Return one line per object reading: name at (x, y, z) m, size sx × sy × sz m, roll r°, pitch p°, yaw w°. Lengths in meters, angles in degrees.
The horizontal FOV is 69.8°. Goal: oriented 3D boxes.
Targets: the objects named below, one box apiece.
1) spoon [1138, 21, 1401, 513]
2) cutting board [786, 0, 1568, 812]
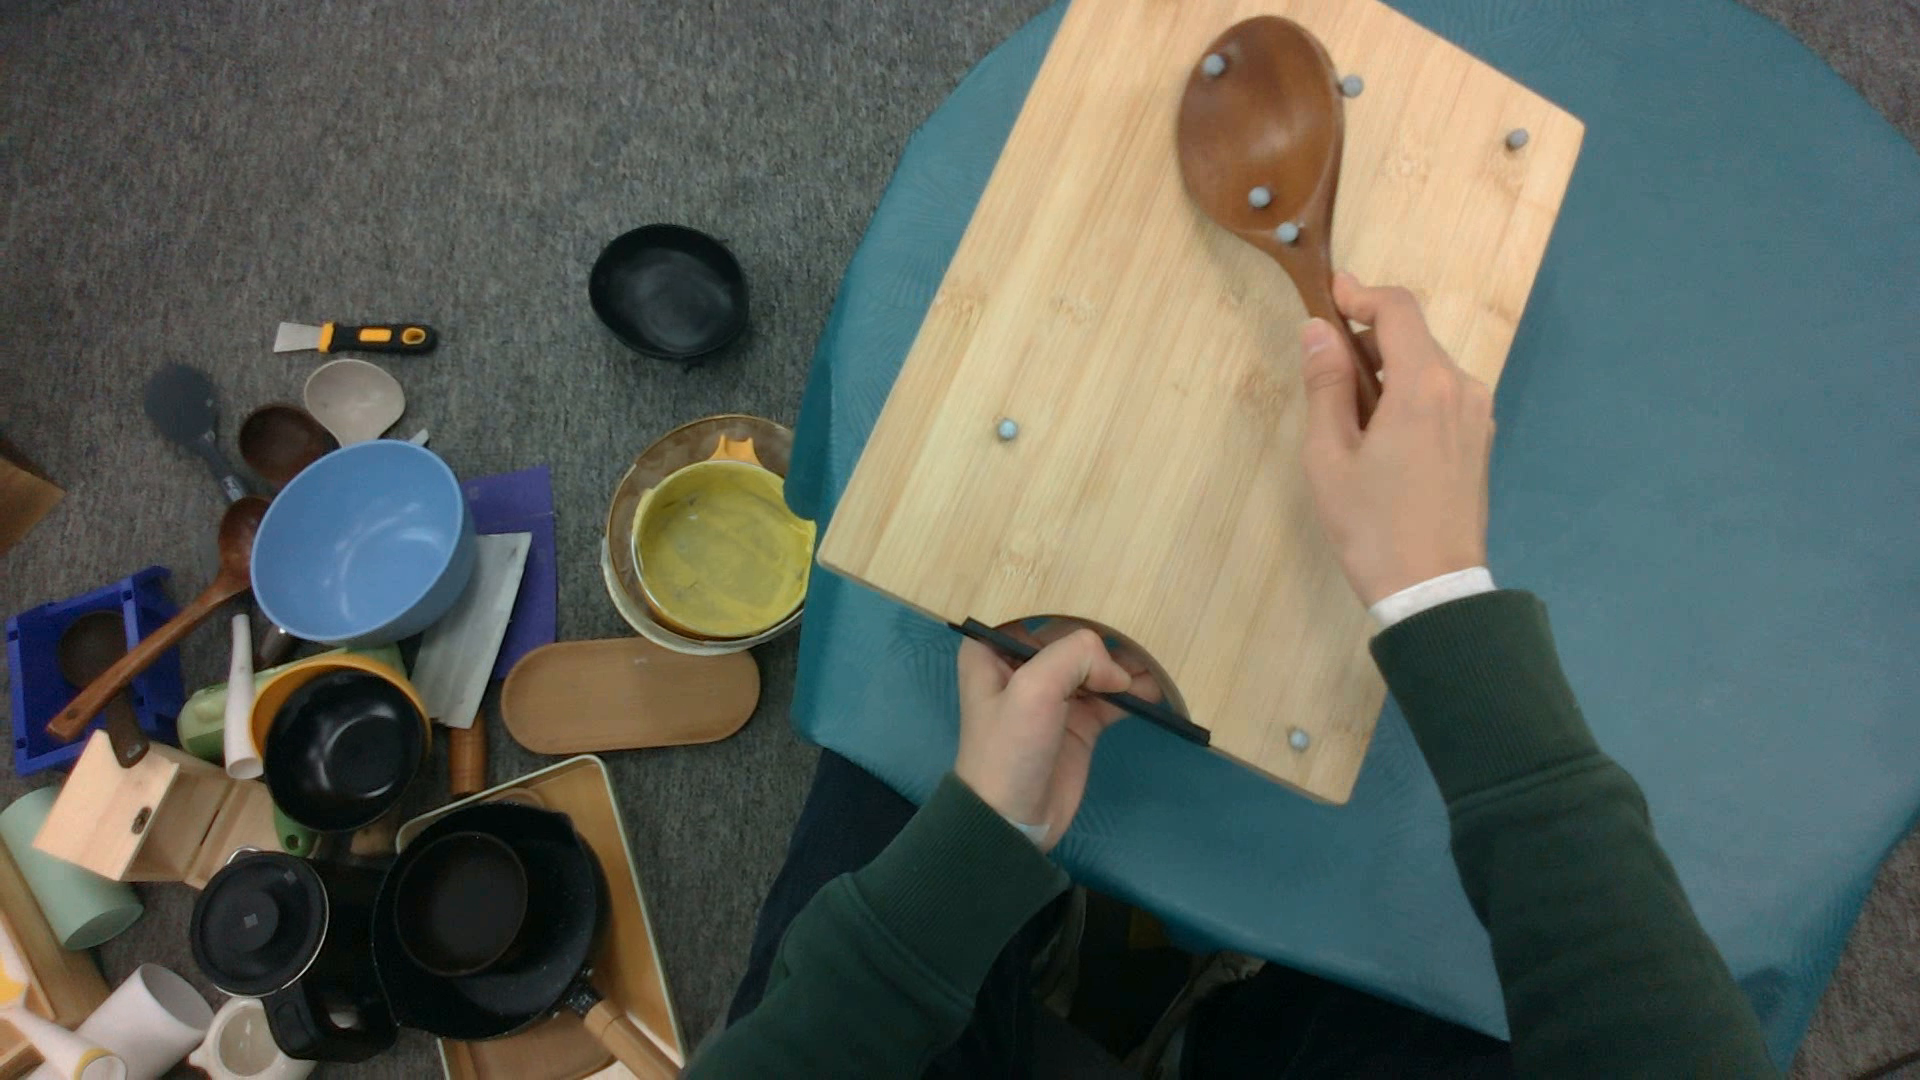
spoon at (0.127, -0.111, 0.549) m, size 0.075 × 0.017 × 0.216 m, roll -28°, pitch 69°, yaw 33°
cutting board at (0.109, -0.091, 0.595) m, size 0.251 × 0.023 × 0.349 m, roll 25°, pitch 76°, yaw -8°
